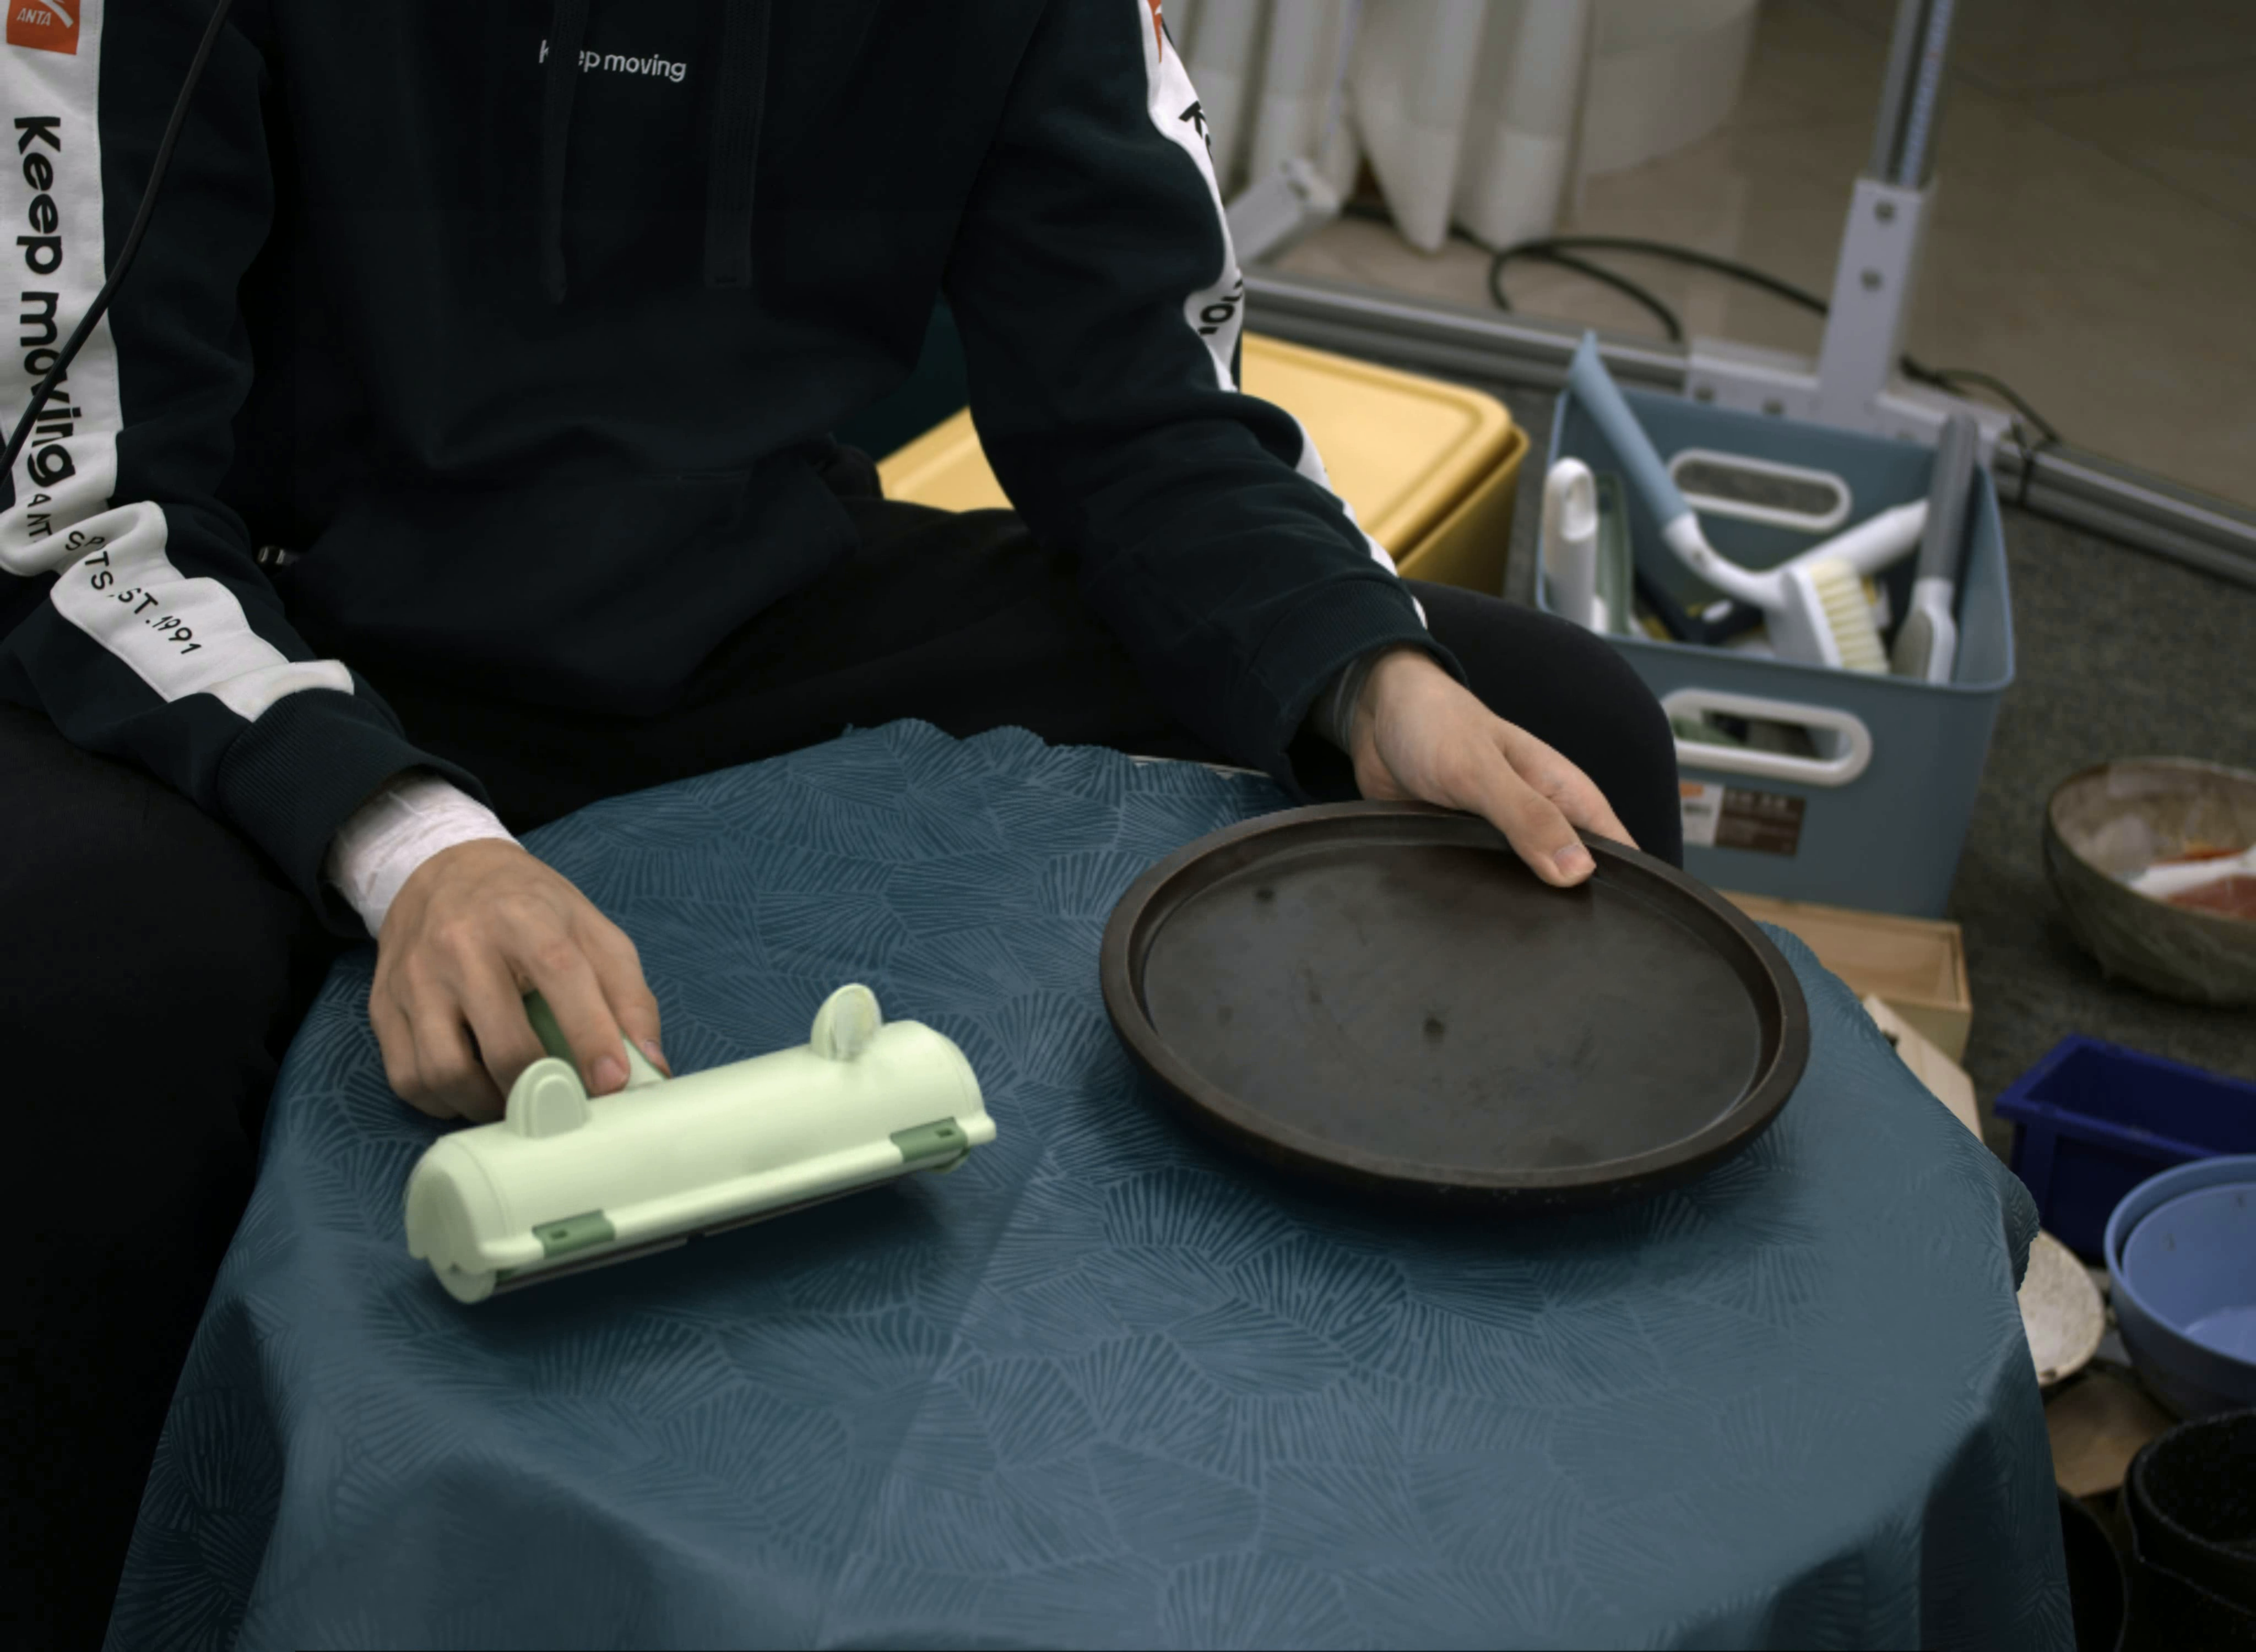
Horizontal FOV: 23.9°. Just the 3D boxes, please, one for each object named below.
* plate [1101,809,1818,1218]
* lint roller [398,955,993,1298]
[{"bbox_3d":[0.116,0.064,1.875,0.254,0.029,0.256,3,31,-2],"label":"plate"},{"bbox_3d":[-0.170,0.072,1.759,0.197,0.082,0.185,-12,39,-34],"label":"lint roller"}]
